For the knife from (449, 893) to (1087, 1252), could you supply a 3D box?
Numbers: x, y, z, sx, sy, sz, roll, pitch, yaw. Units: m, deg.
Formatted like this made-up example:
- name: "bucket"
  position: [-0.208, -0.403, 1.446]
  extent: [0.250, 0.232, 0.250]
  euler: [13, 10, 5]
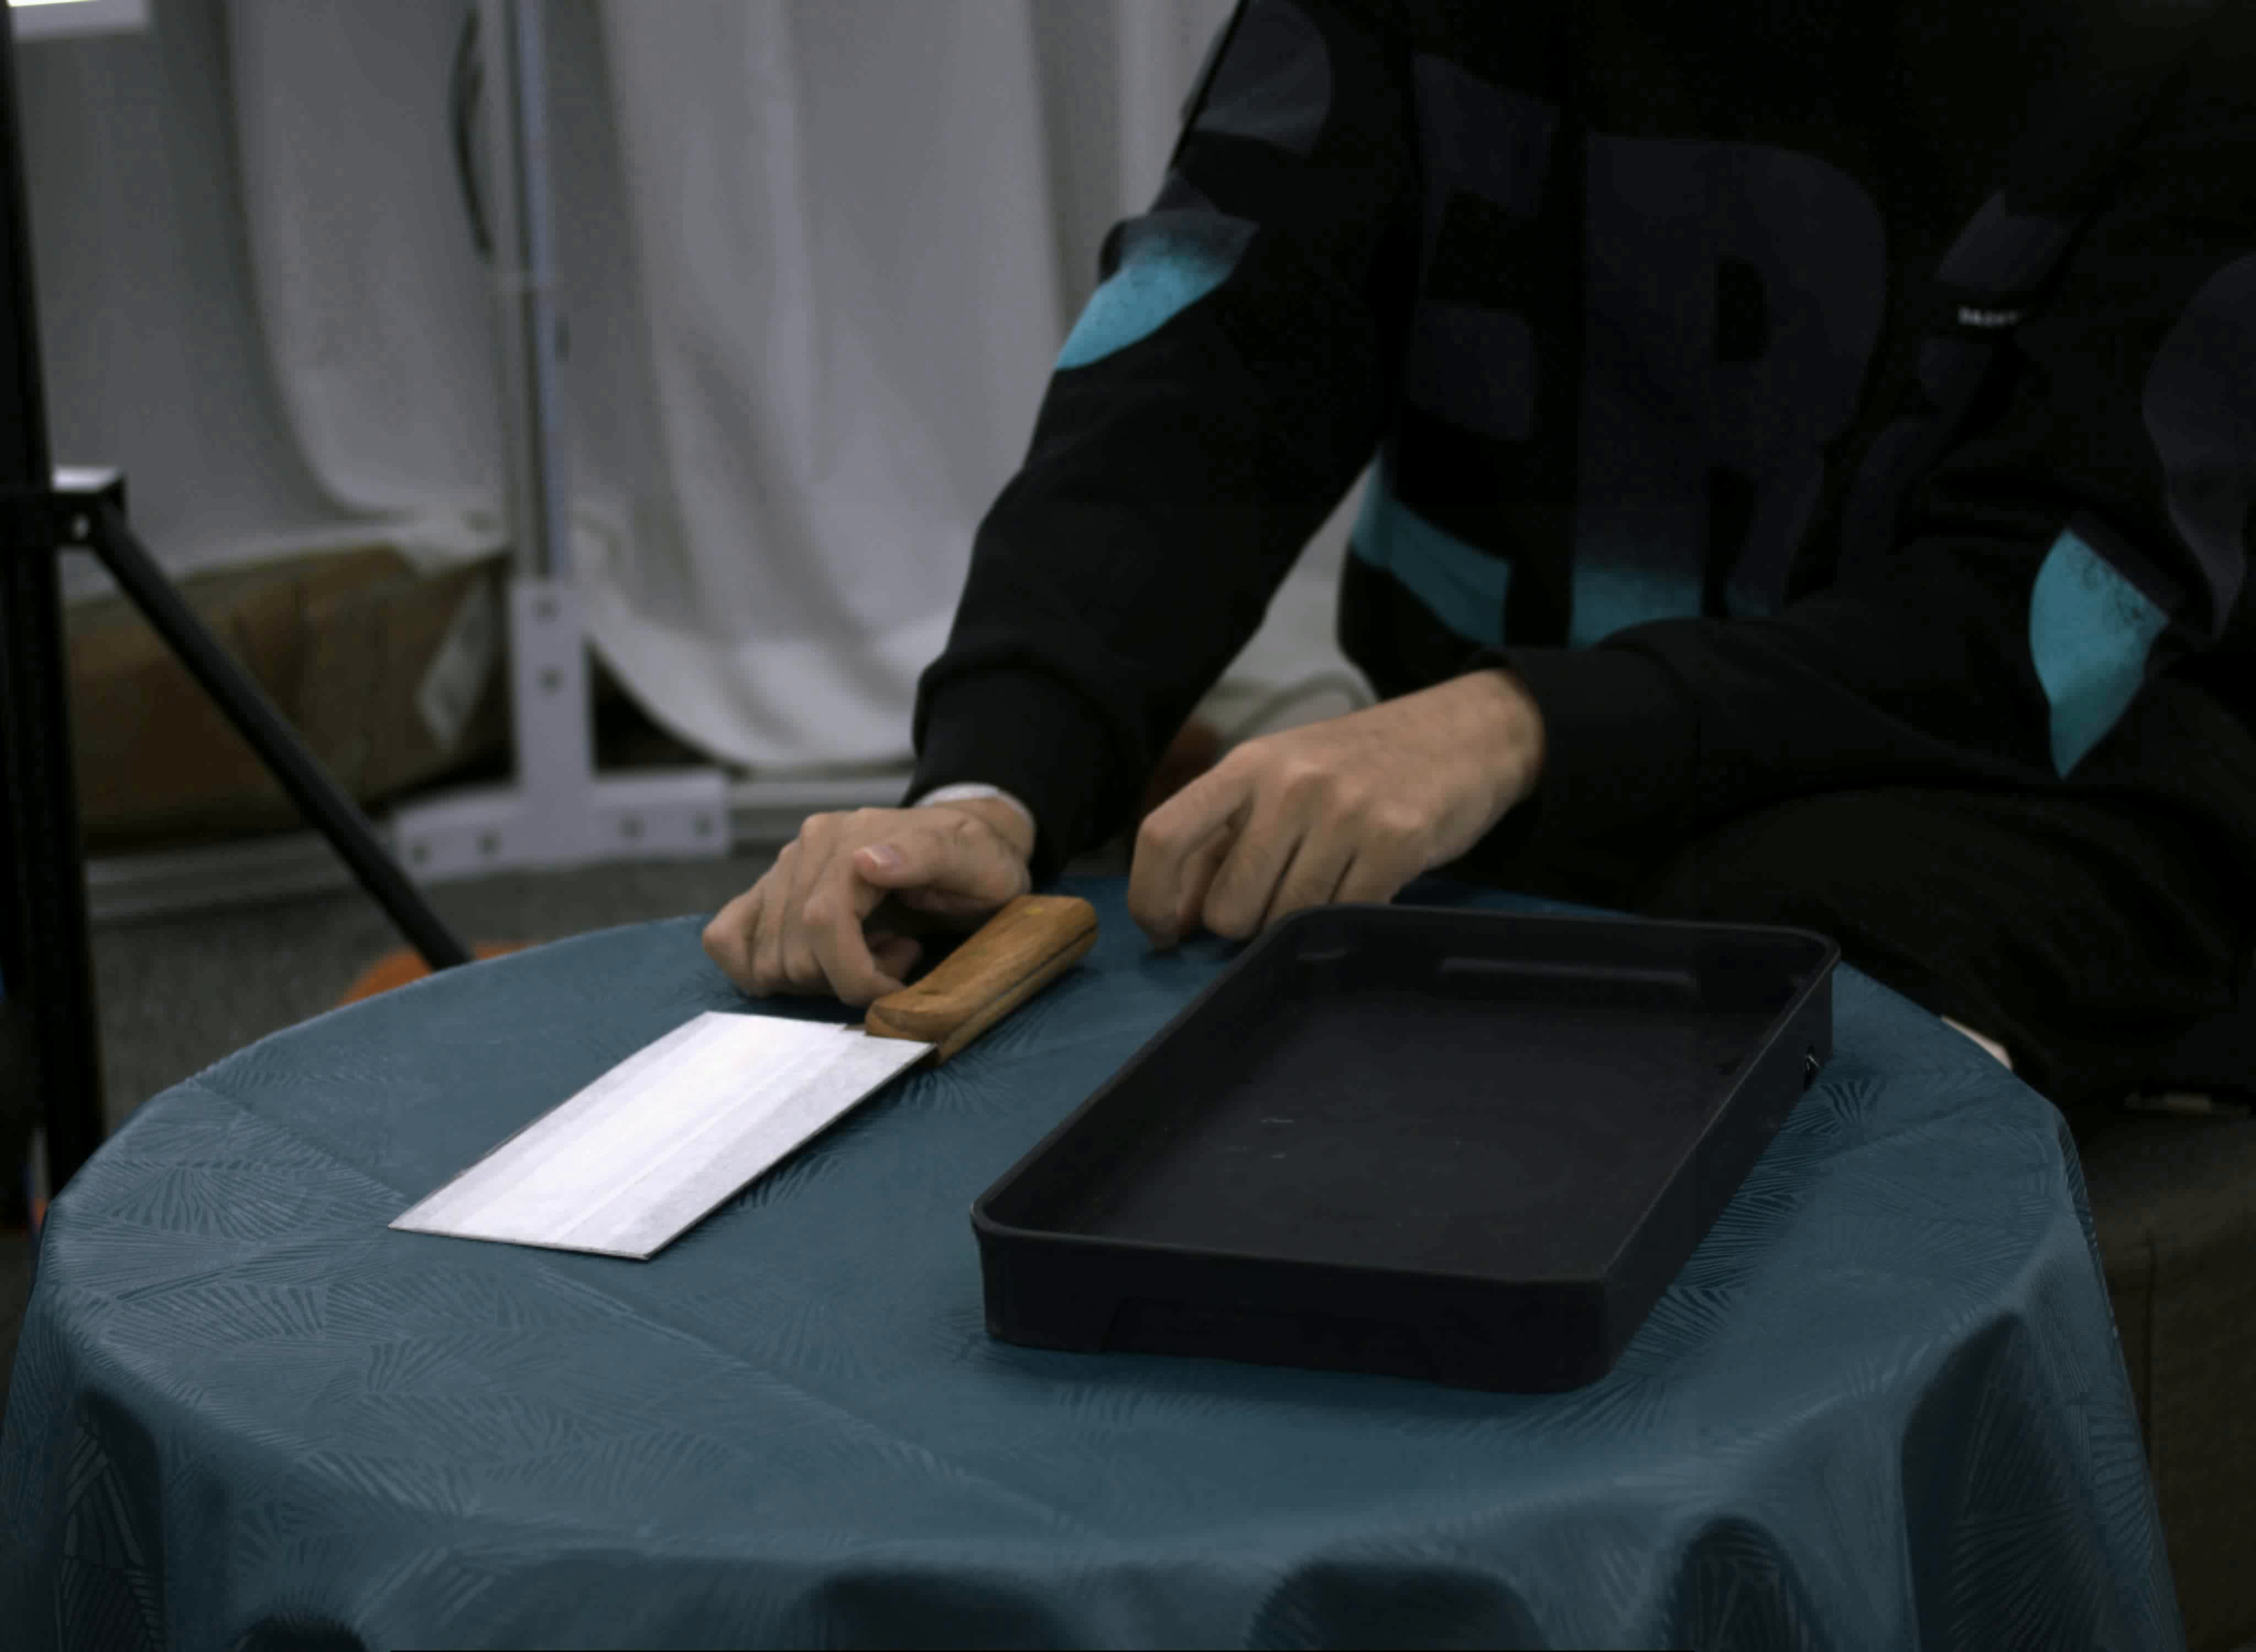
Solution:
- name: "knife"
  position: [-0.111, 0.075, 1.667]
  extent: [0.094, 0.021, 0.301]
  euler: [4, 19, 26]

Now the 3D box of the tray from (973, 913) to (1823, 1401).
- name: "tray"
  position: [0.087, 0.089, 1.542]
  extent: [0.186, 0.037, 0.314]
  euler: [2, 16, 18]
